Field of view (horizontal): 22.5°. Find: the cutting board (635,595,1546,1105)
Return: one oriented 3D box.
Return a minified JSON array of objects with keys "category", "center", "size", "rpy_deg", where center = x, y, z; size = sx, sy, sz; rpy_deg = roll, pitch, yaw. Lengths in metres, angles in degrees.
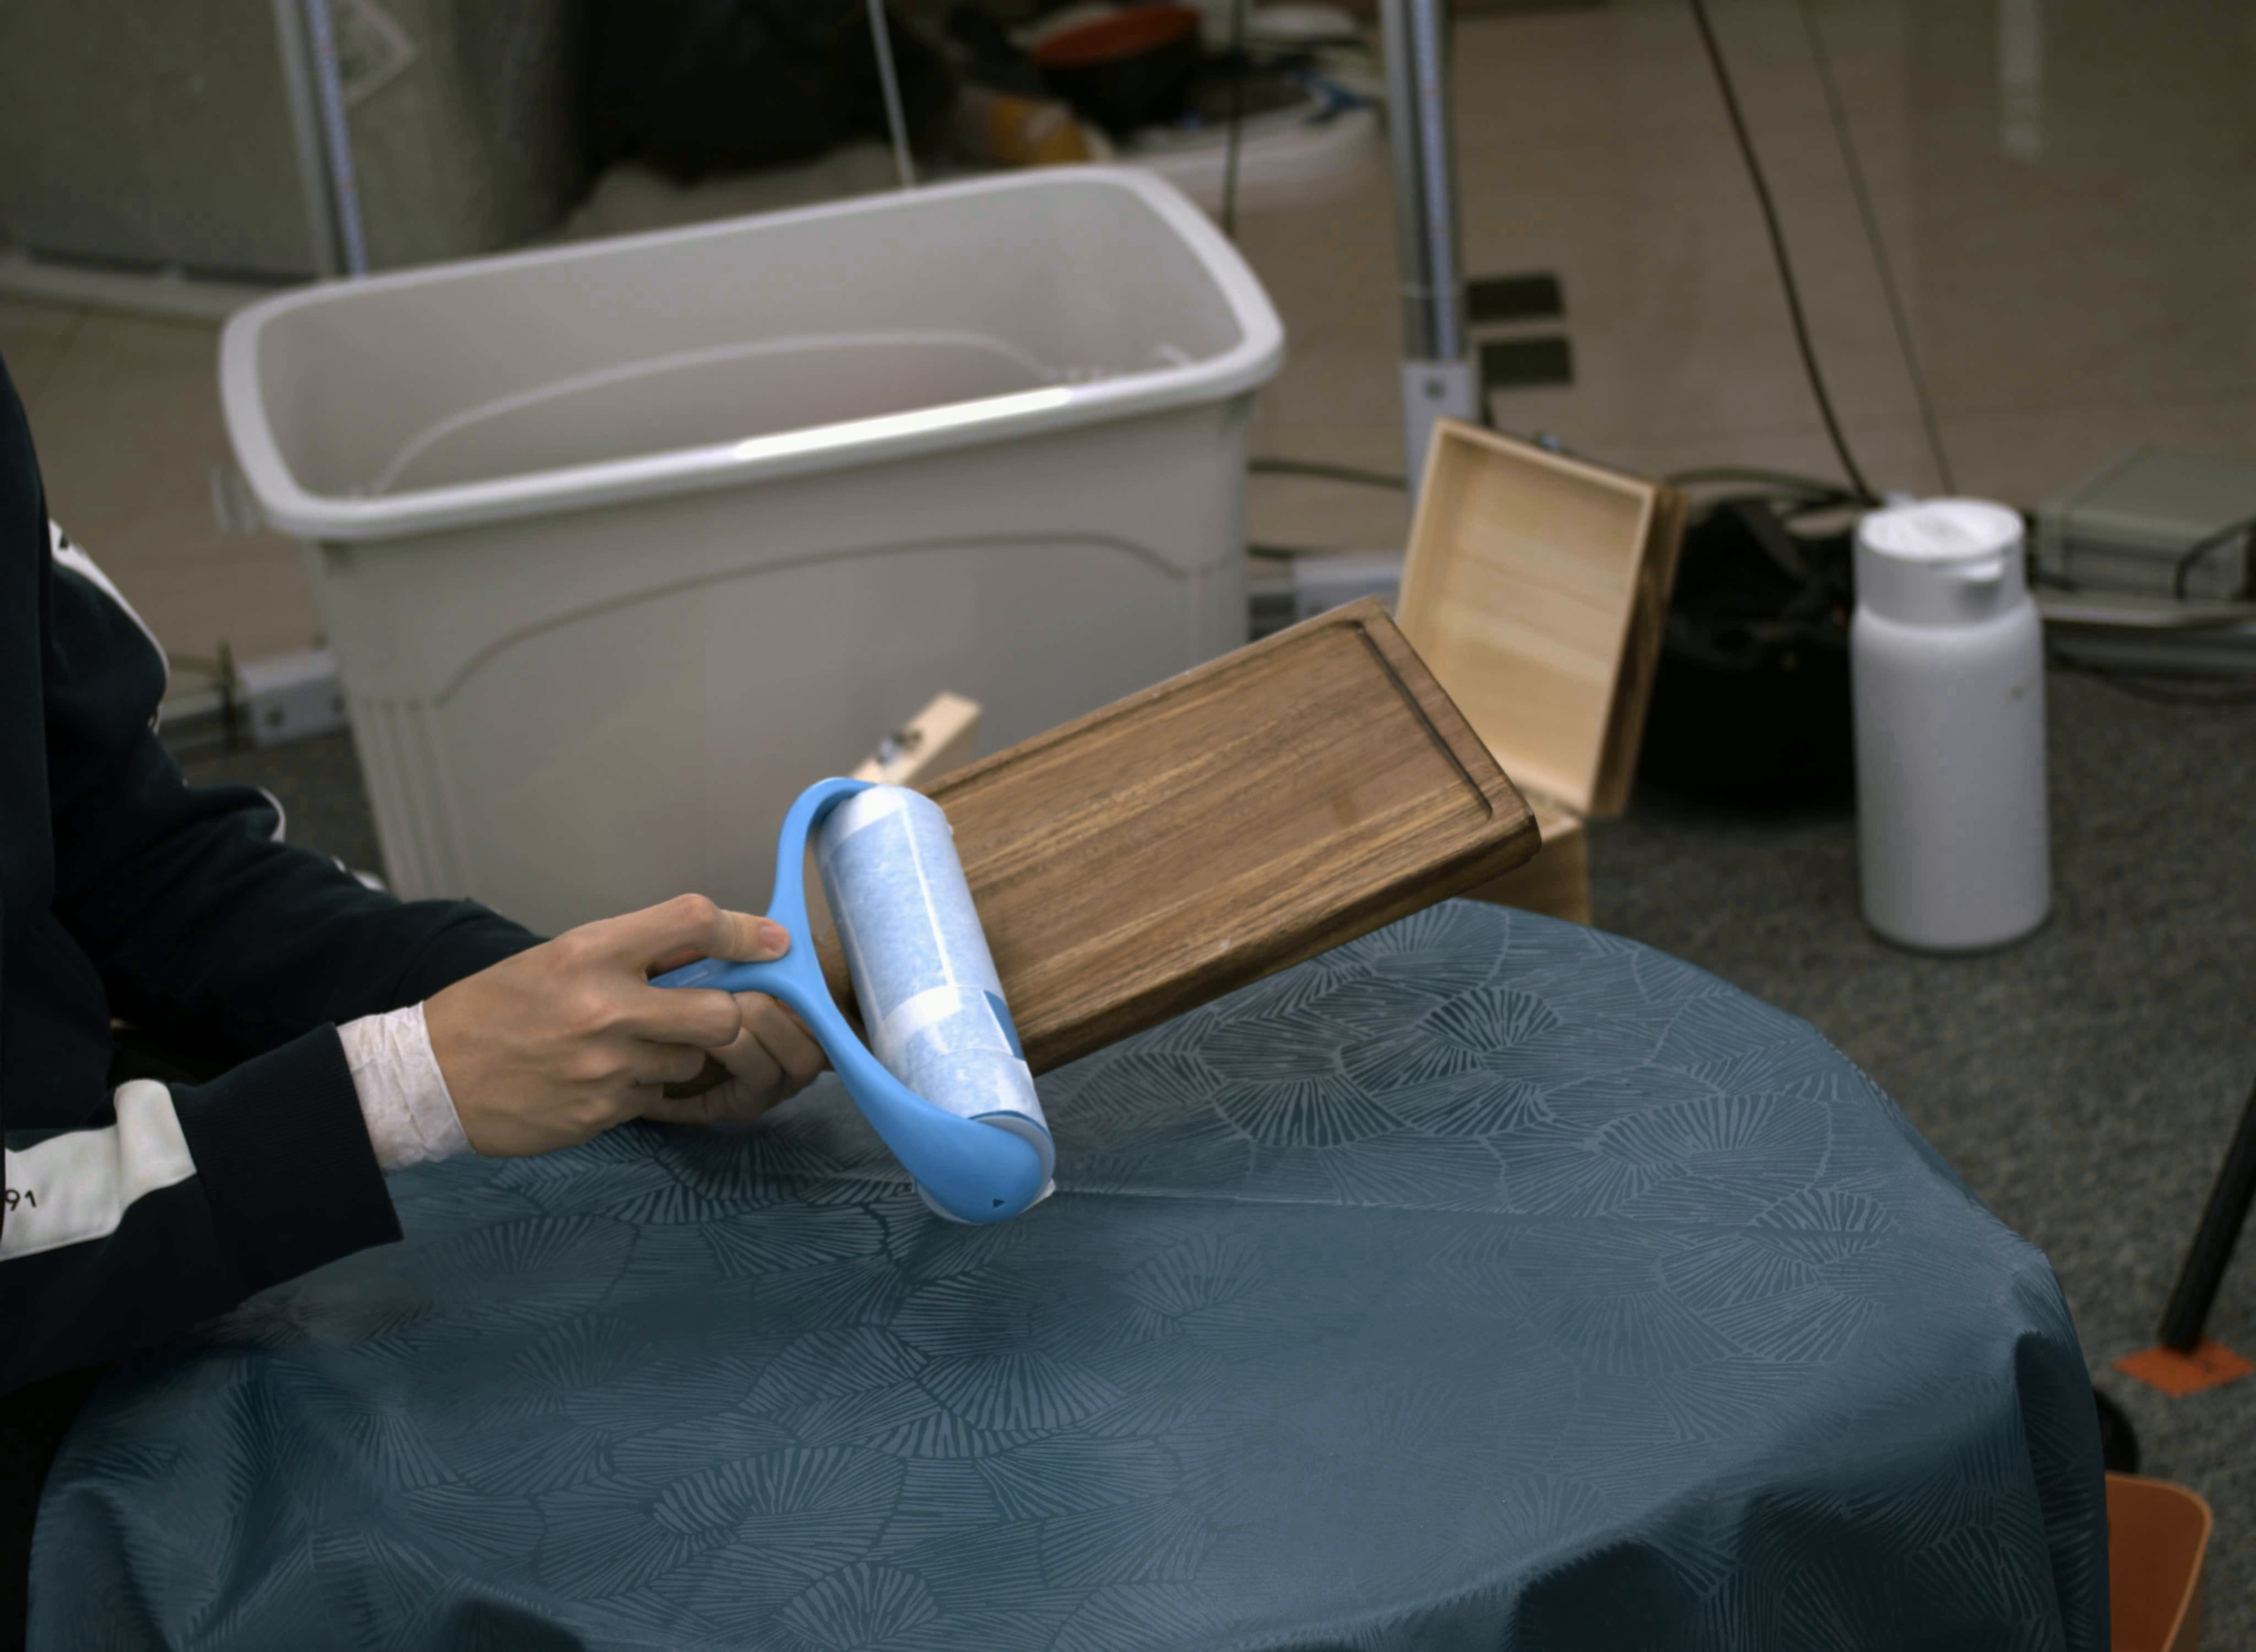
[{"category":"cutting board","center":[-0.029,0.025,2.210],"size":[0.351,0.023,0.198],"rpy_deg":[-24,34,-5]}]

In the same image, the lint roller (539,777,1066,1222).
[{"category":"lint roller","center":[-0.128,0.071,2.099],"size":[0.180,0.069,0.225],"rpy_deg":[-8,42,-15]}]
